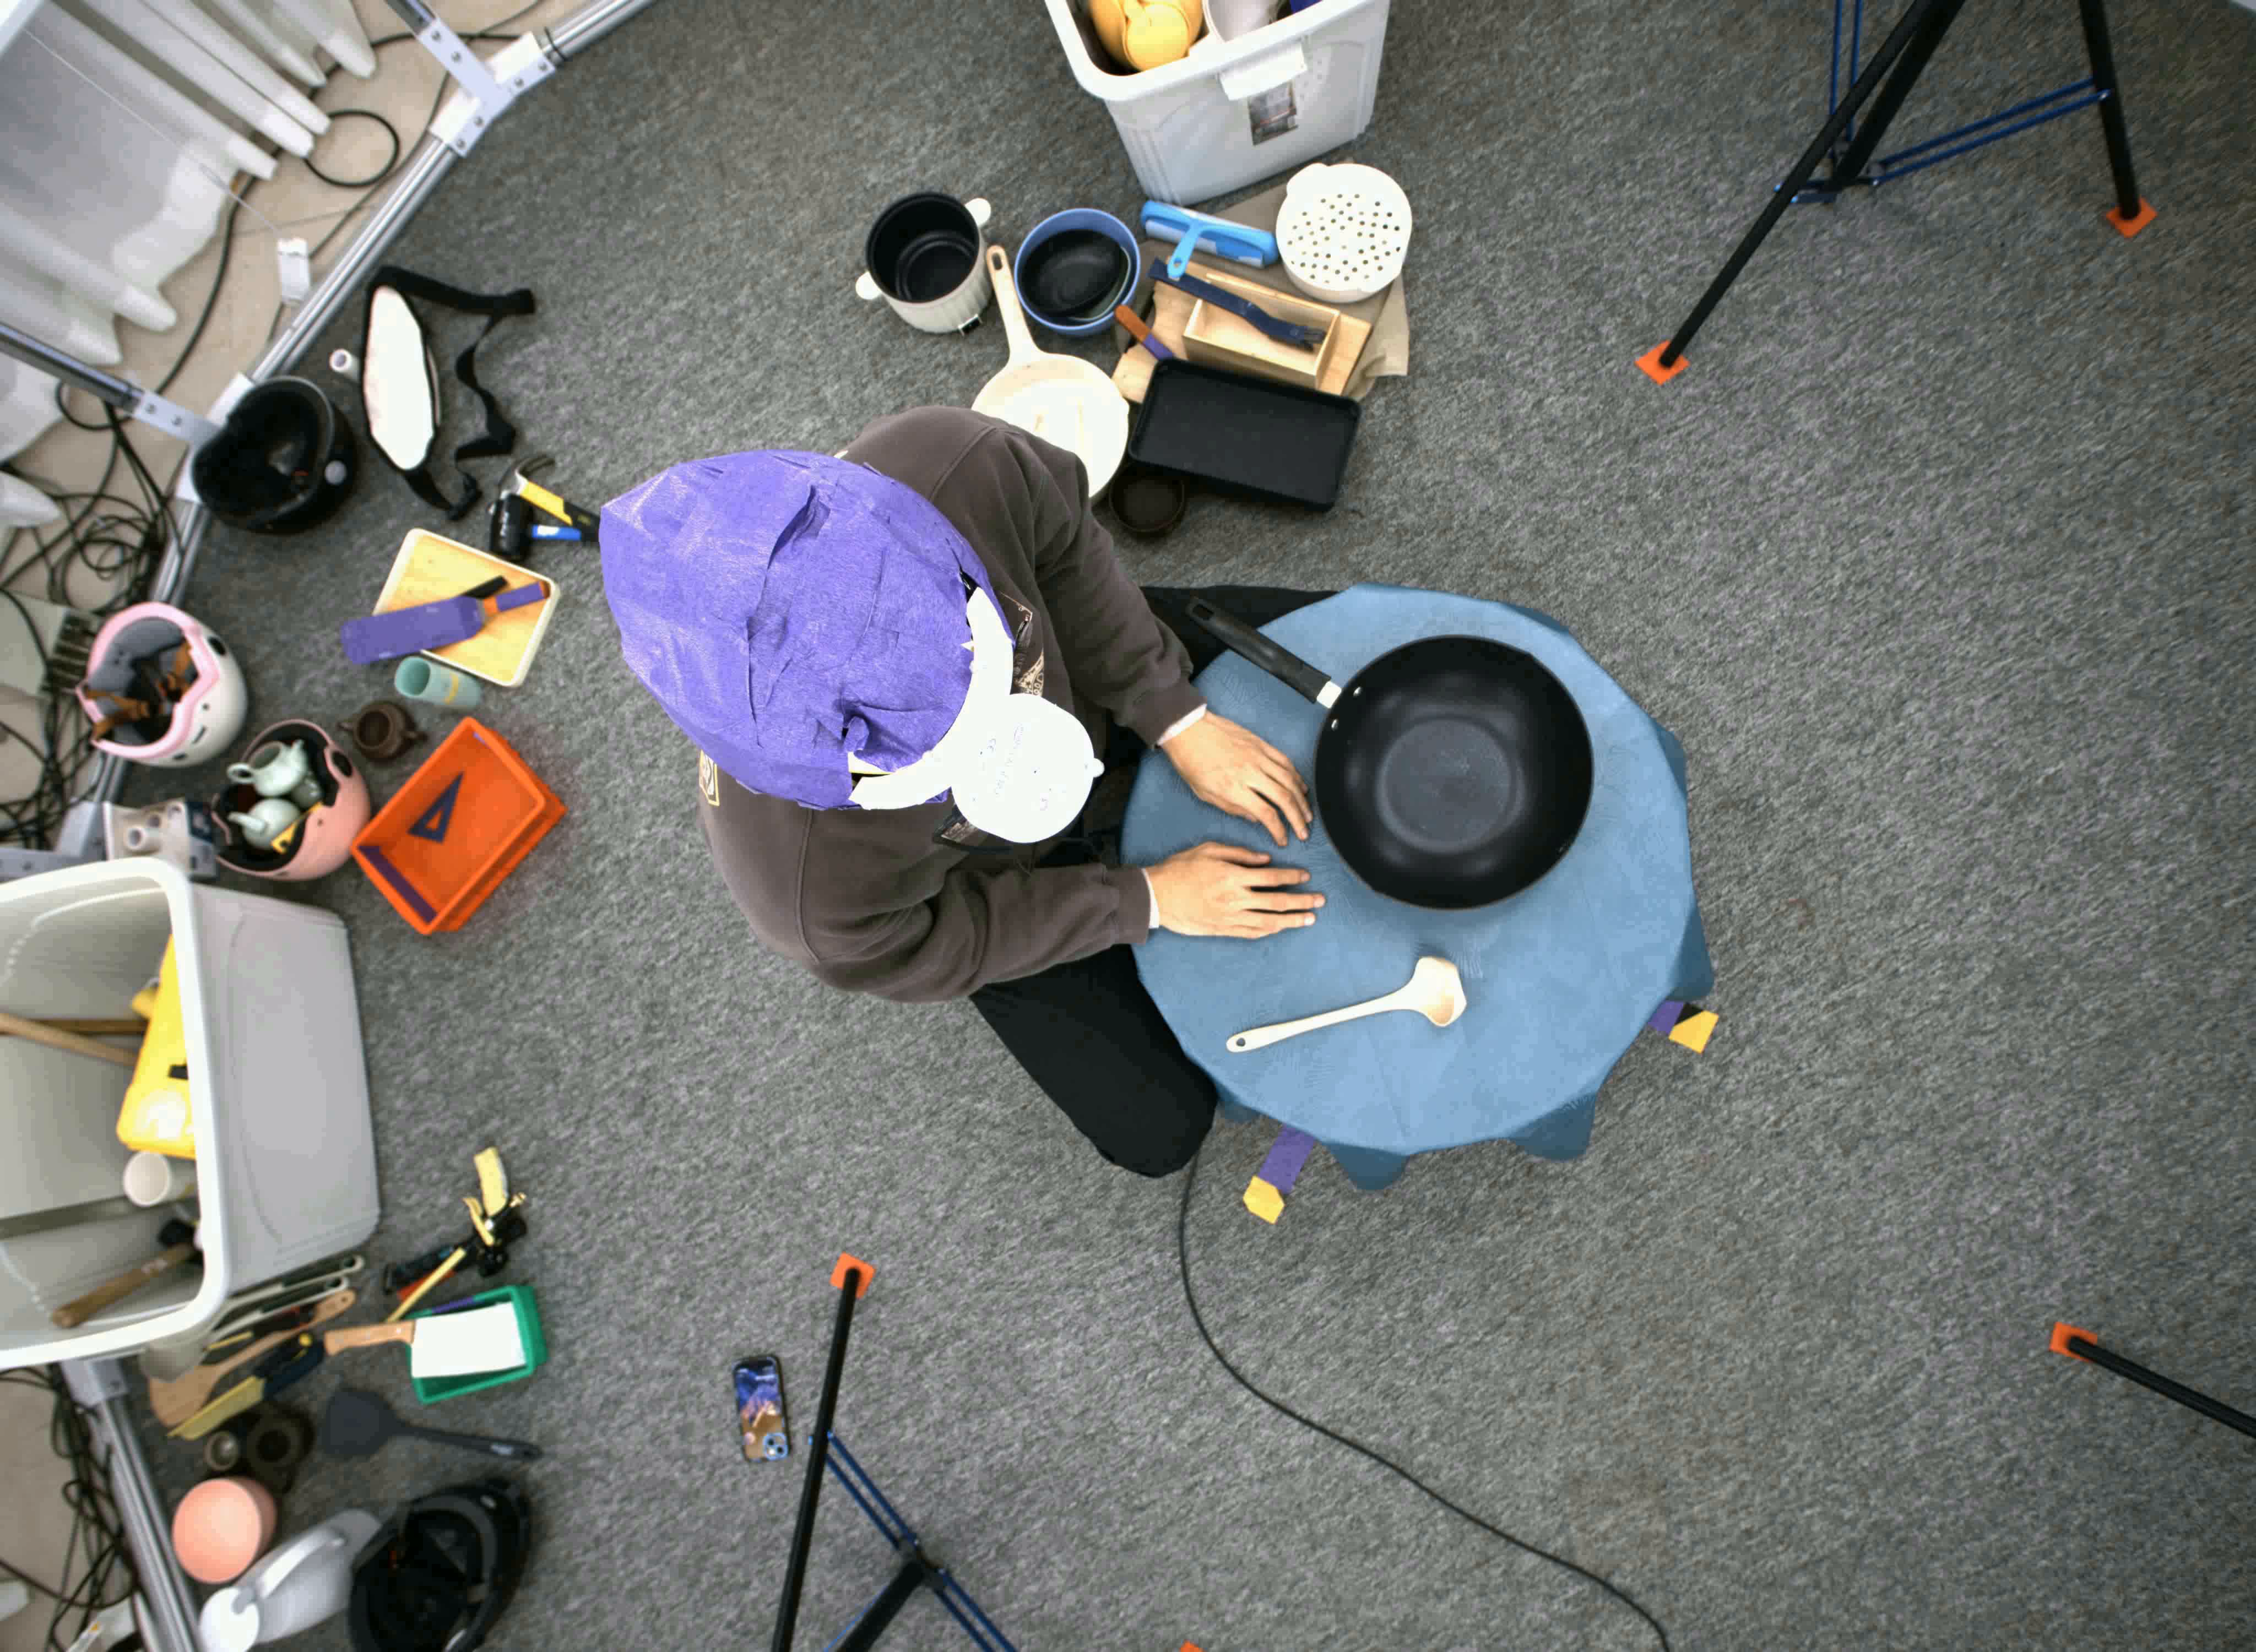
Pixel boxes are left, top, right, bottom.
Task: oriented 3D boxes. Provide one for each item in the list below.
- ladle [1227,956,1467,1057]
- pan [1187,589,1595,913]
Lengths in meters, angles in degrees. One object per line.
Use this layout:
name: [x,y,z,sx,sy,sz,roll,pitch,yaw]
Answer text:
ladle: [0.221,0.197,1.423,0.256,0.073,0.072,-18,85,8]
pan: [0.255,-0.102,1.427,0.462,0.087,0.289,35,94,11]
